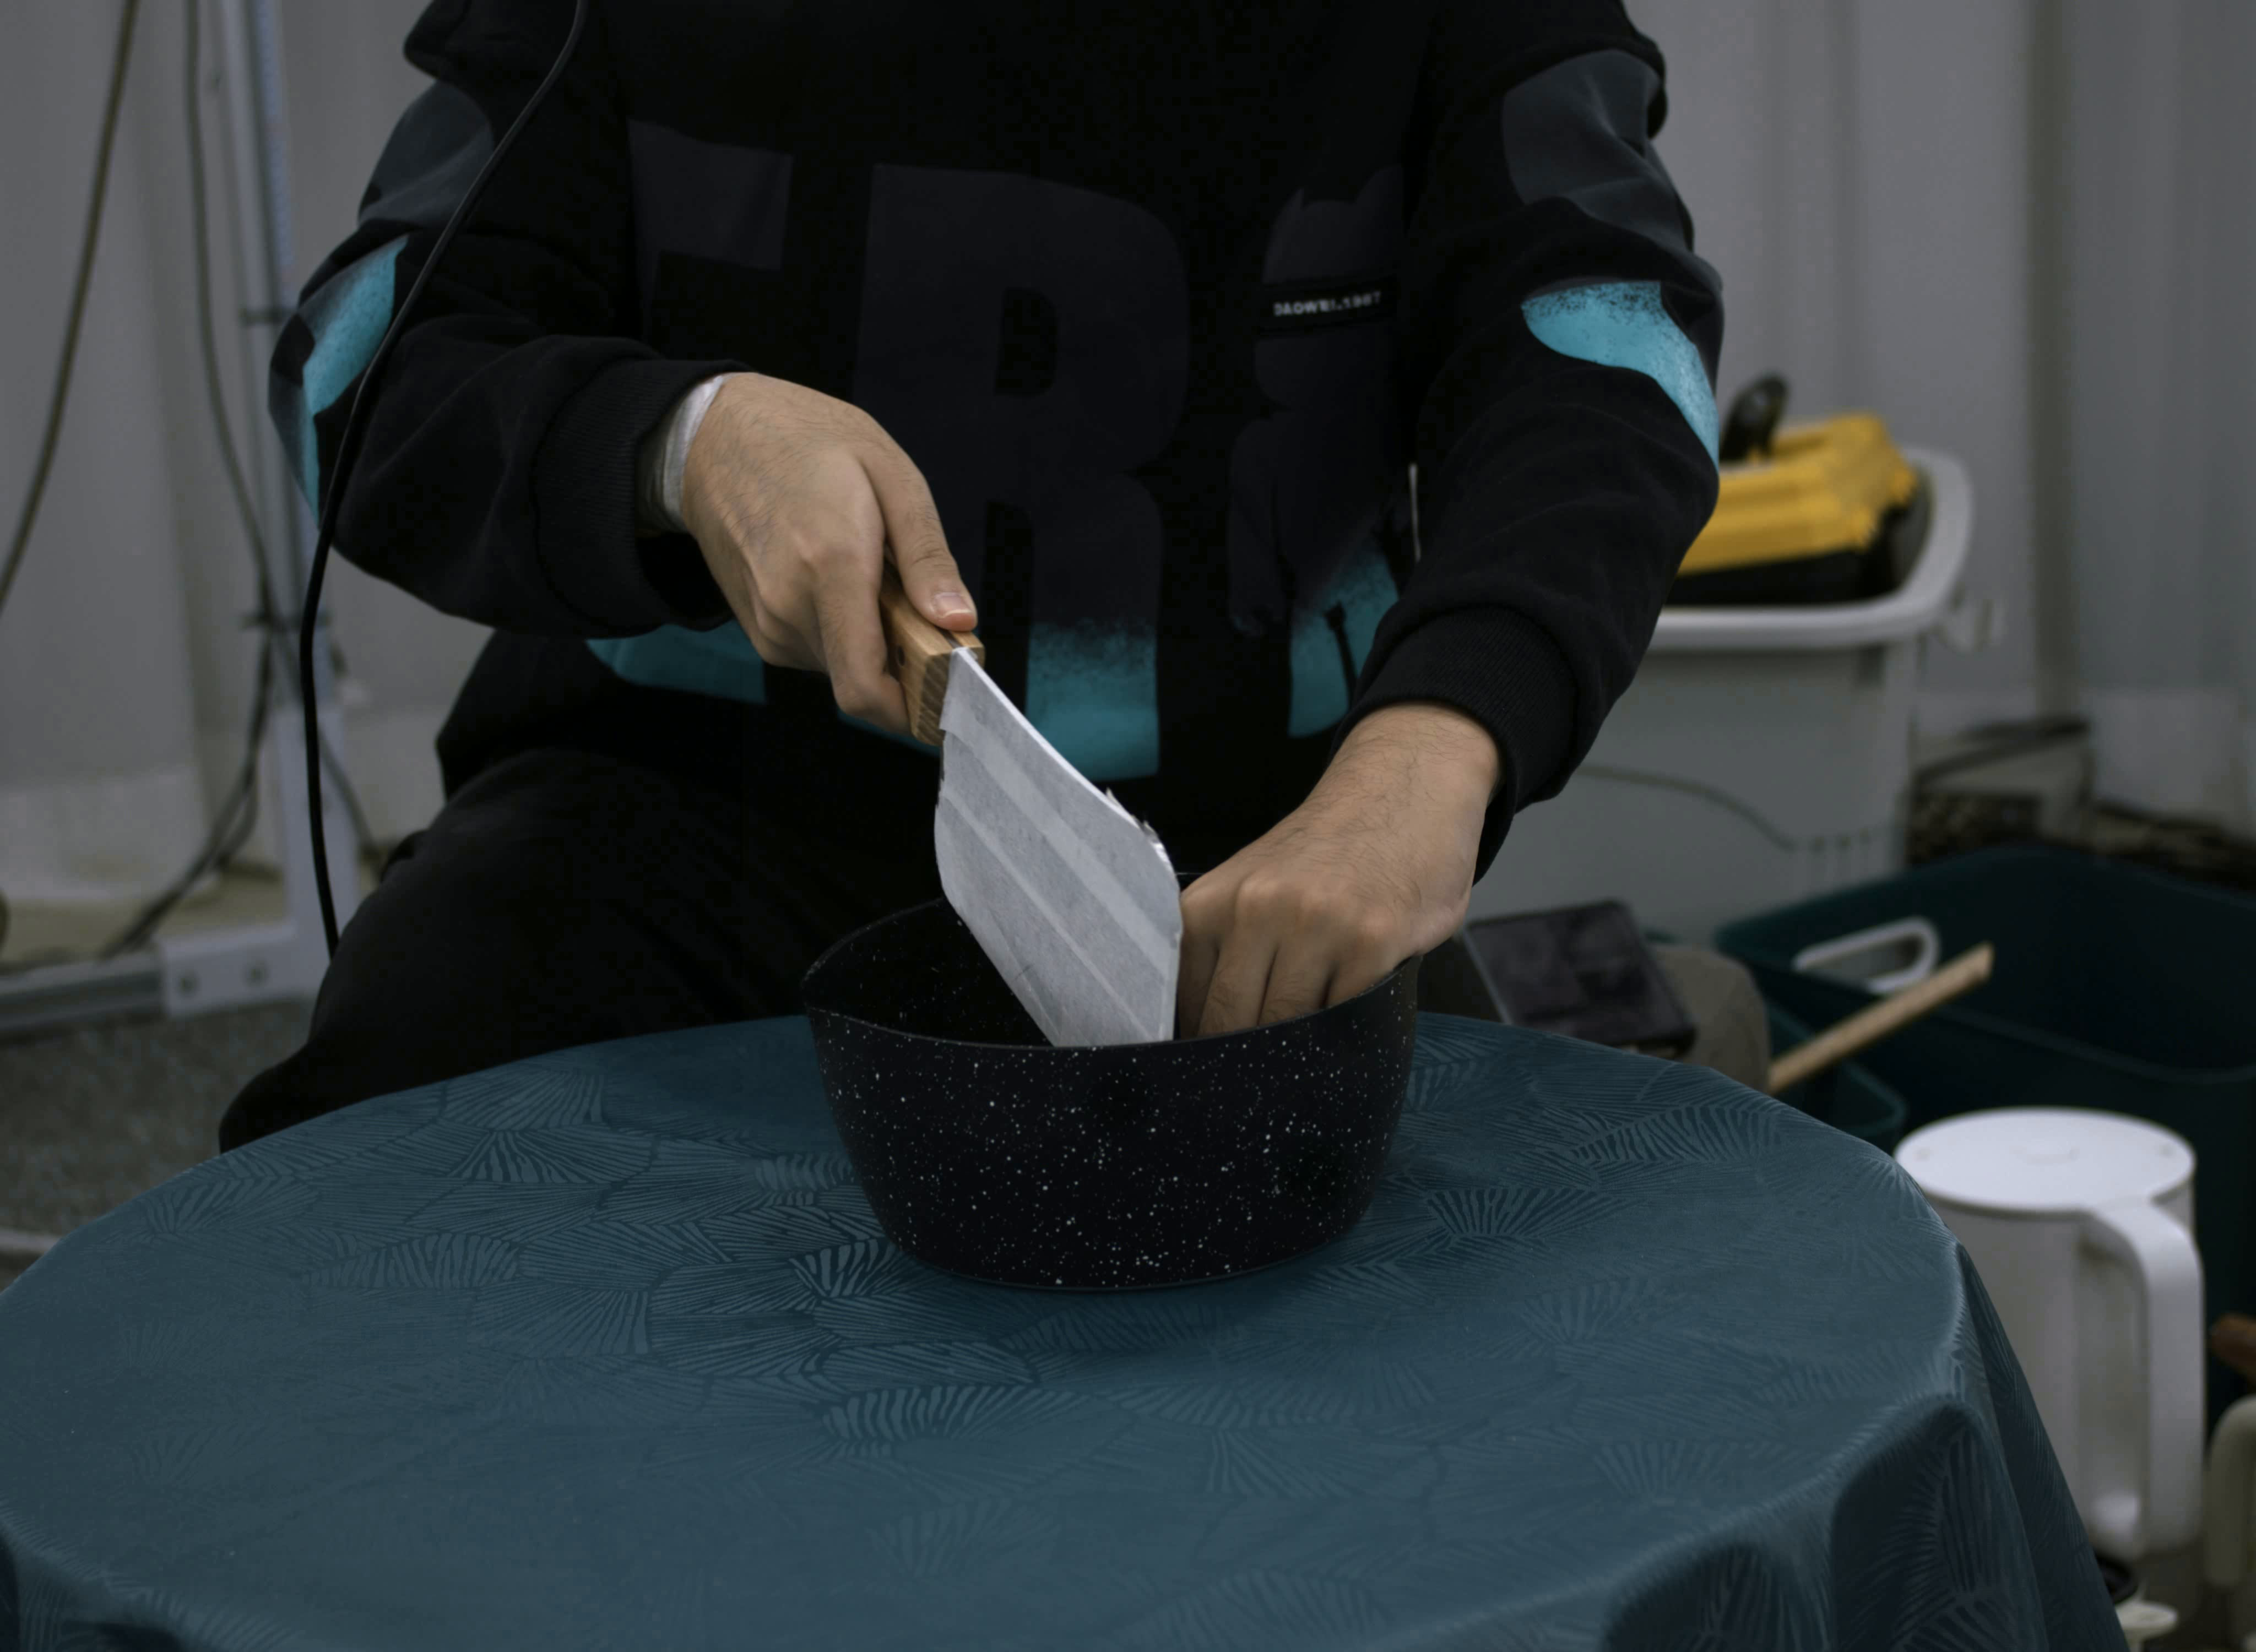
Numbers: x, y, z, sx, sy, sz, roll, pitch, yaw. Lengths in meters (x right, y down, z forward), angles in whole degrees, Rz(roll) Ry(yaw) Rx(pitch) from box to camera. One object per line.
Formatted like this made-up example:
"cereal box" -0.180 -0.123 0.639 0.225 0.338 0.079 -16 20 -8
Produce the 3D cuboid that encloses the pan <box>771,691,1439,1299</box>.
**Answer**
"pan" -0.020 0.049 1.756 0.206 0.108 0.346 -7 17 -11

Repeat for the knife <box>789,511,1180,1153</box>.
"knife" -0.045 -0.016 1.707 0.021 0.113 0.320 -5 32 -23
